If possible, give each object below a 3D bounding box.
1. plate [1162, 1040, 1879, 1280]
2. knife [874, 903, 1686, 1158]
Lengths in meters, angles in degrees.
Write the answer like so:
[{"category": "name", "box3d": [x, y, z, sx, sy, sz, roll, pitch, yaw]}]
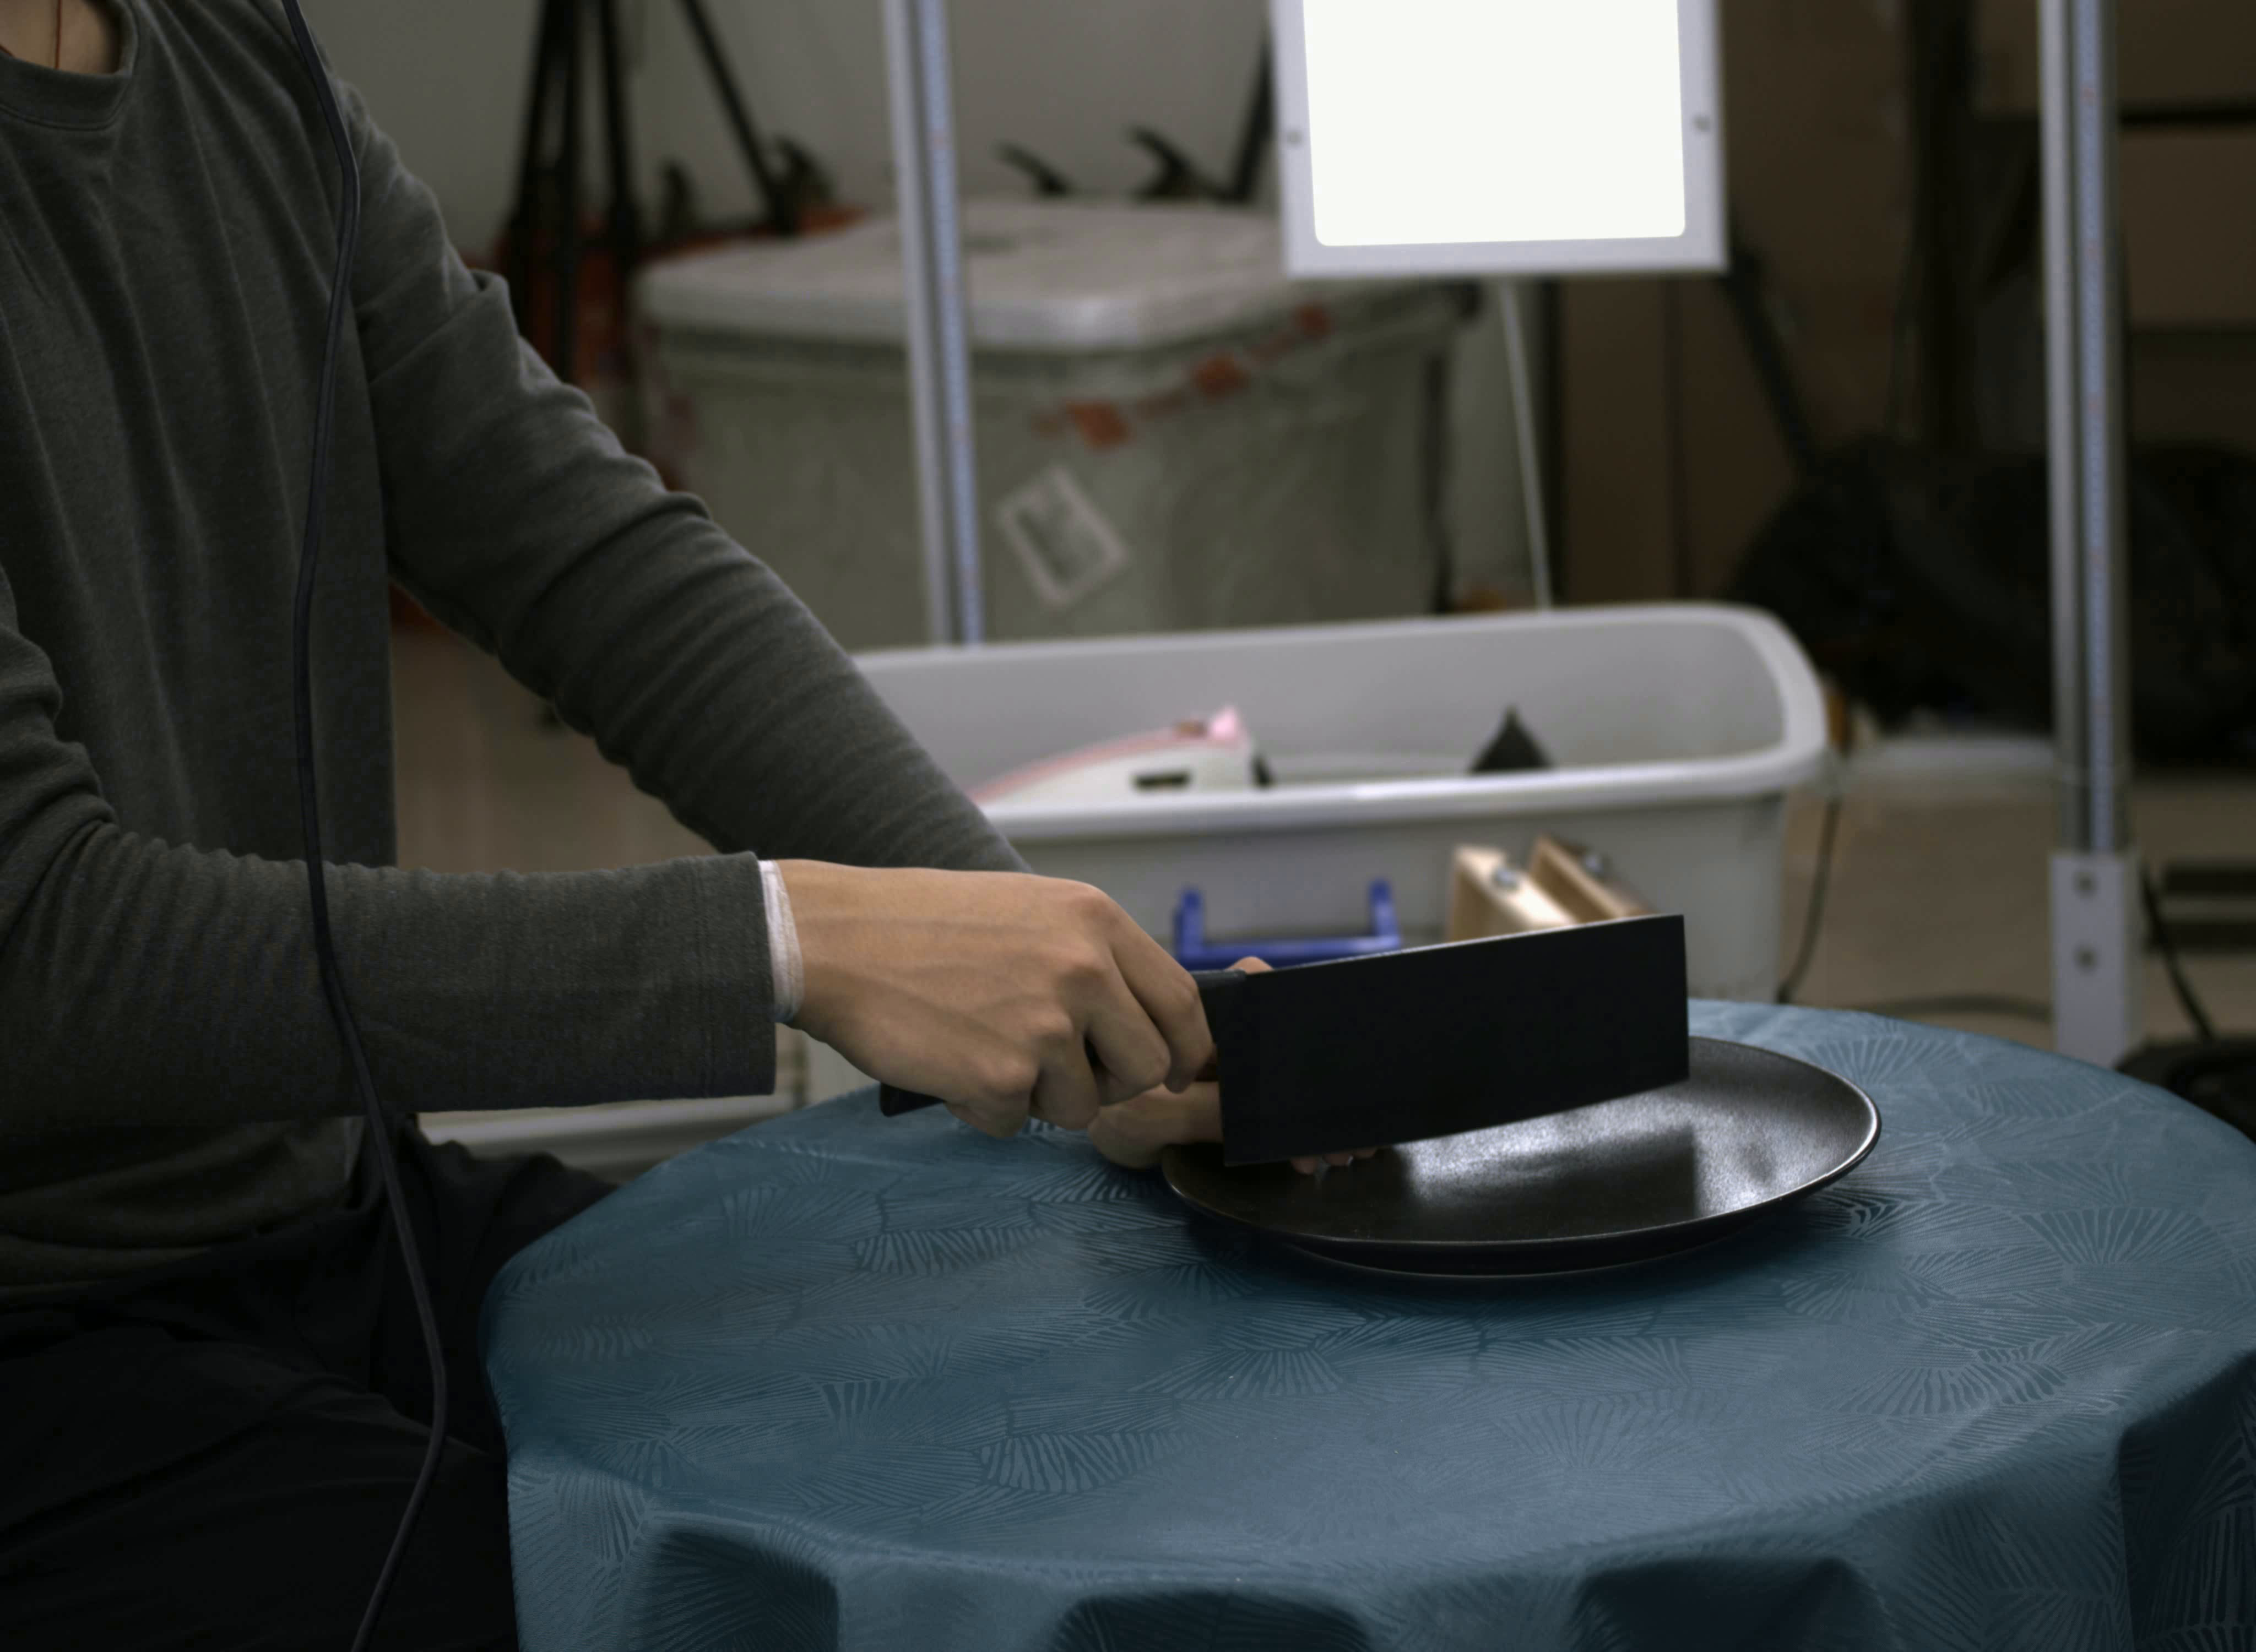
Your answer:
[{"category": "plate", "box3d": [0.133, 0.114, 1.859, 0.244, 0.023, 0.244, -5, 13, 0]}, {"category": "knife", "box3d": [0.057, 0.073, 1.854, 0.296, 0.081, 0.021, -3, 8, -21]}]
